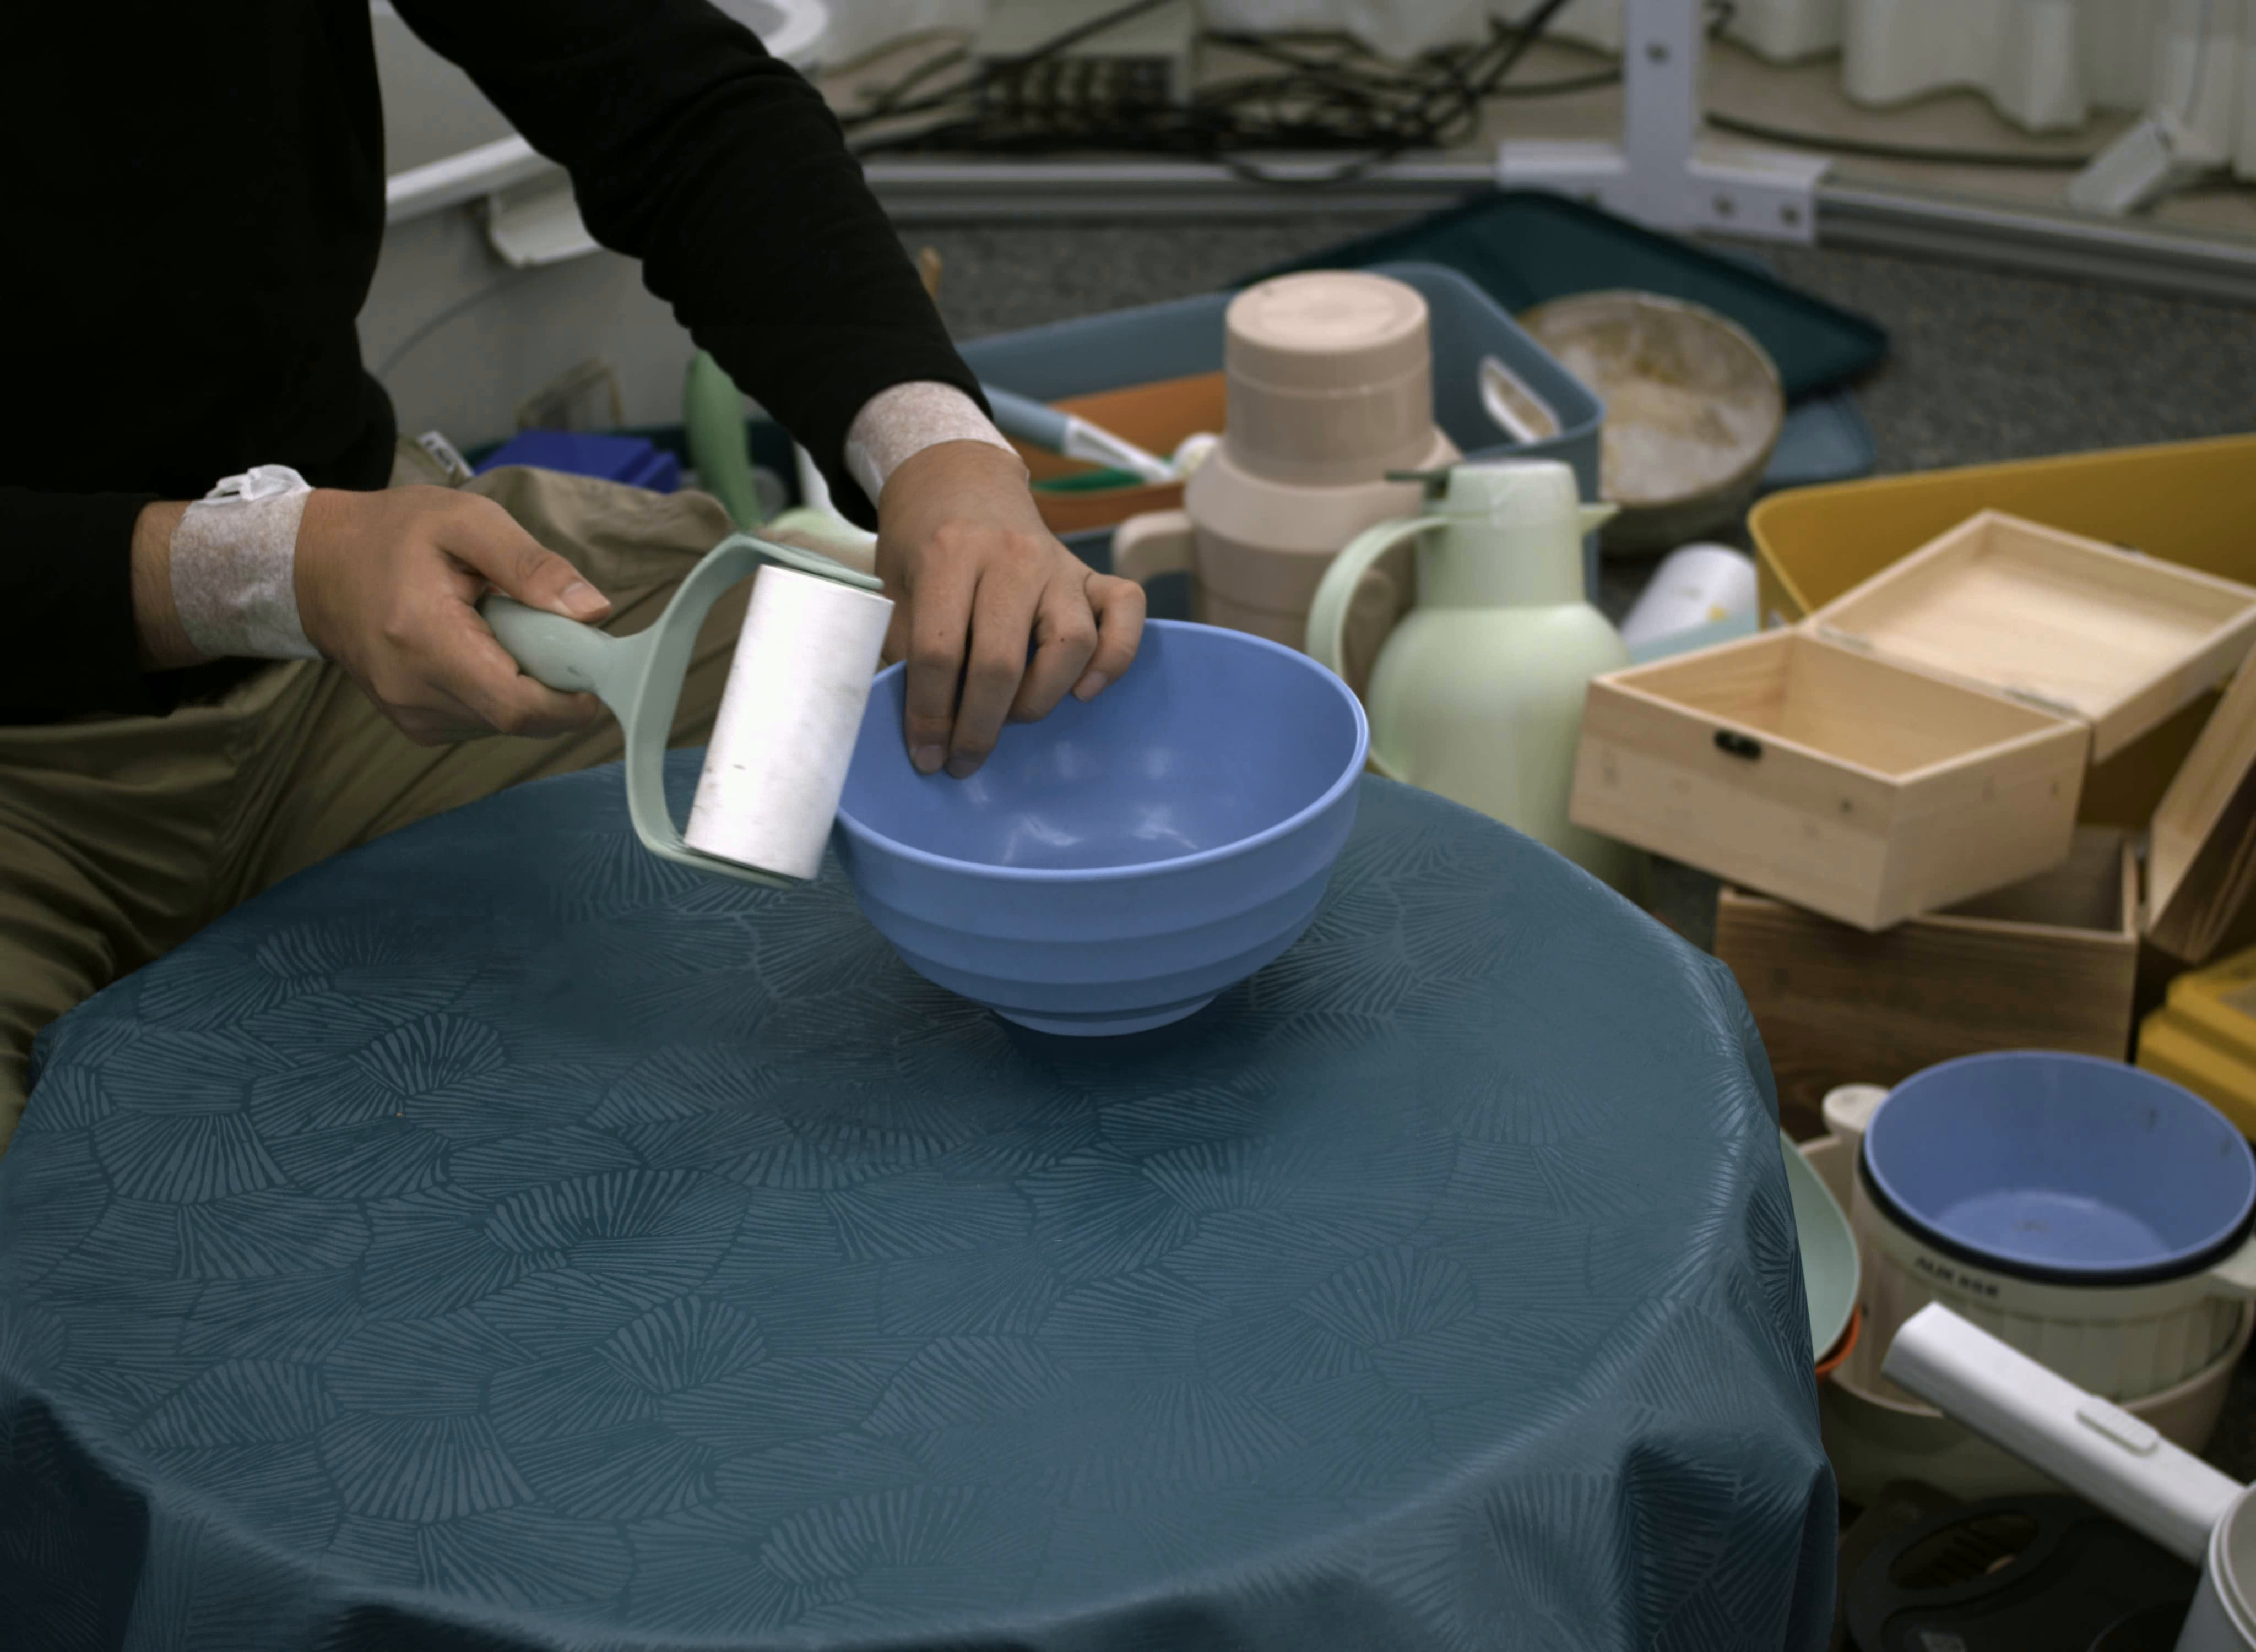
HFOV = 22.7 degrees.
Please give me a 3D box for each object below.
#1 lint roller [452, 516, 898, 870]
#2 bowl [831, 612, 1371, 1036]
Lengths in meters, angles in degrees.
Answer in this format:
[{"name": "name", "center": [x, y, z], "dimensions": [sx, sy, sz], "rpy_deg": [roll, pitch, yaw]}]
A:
[{"name": "lint roller", "center": [-0.169, -0.059, 1.948], "dimensions": [0.196, 0.117, 0.048], "rpy_deg": [15, -1, 36]}, {"name": "bowl", "center": [-0.011, 0.010, 1.973], "dimensions": [0.195, 0.094, 0.199], "rpy_deg": [-3, 28, 2]}]
